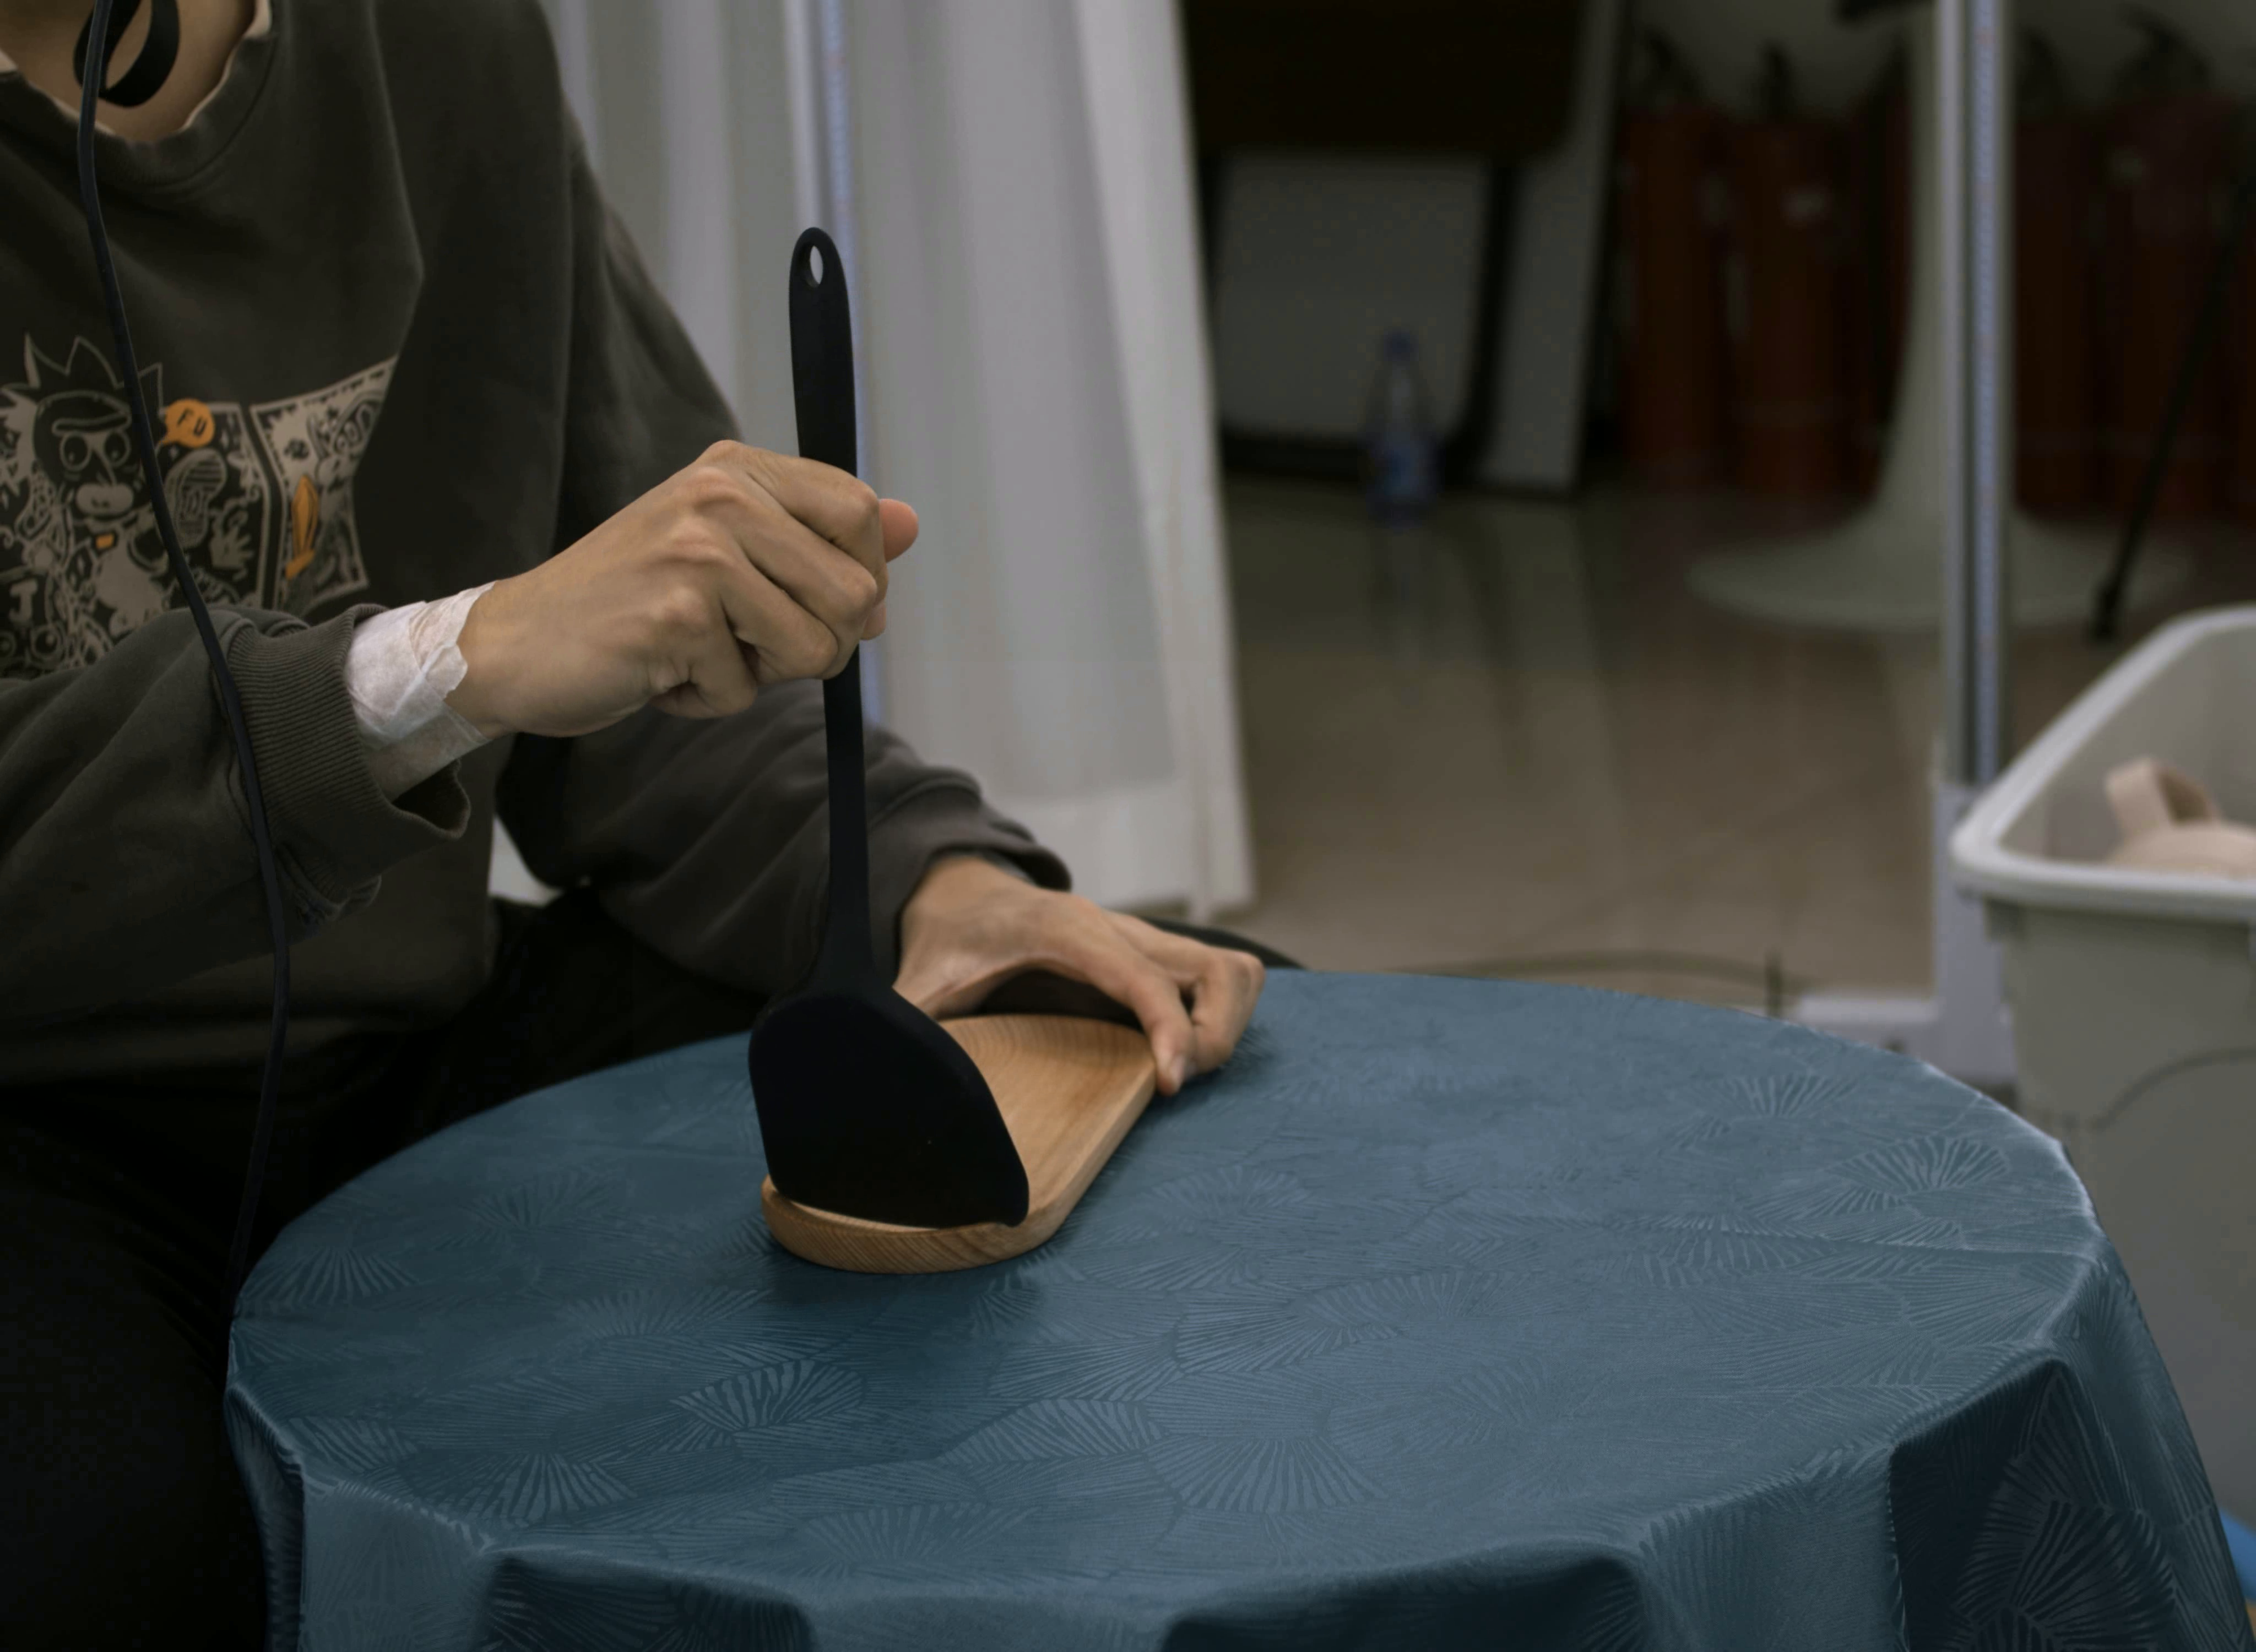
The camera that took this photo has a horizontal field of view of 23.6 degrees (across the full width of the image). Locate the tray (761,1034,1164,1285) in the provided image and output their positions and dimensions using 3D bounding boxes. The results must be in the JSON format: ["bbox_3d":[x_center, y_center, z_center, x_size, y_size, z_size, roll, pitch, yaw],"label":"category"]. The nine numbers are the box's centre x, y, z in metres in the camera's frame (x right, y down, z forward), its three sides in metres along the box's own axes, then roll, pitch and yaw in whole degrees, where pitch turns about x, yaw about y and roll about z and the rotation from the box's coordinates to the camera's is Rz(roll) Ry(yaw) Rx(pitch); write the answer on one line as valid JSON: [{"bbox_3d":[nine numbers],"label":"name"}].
[{"bbox_3d":[-0.053,0.109,1.805,0.101,0.020,0.230,1,16,14],"label":"tray"}]

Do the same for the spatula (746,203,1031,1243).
[{"bbox_3d":[-0.085,-0.028,1.677,0.100,0.330,0.040,3,11,28],"label":"spatula"}]
